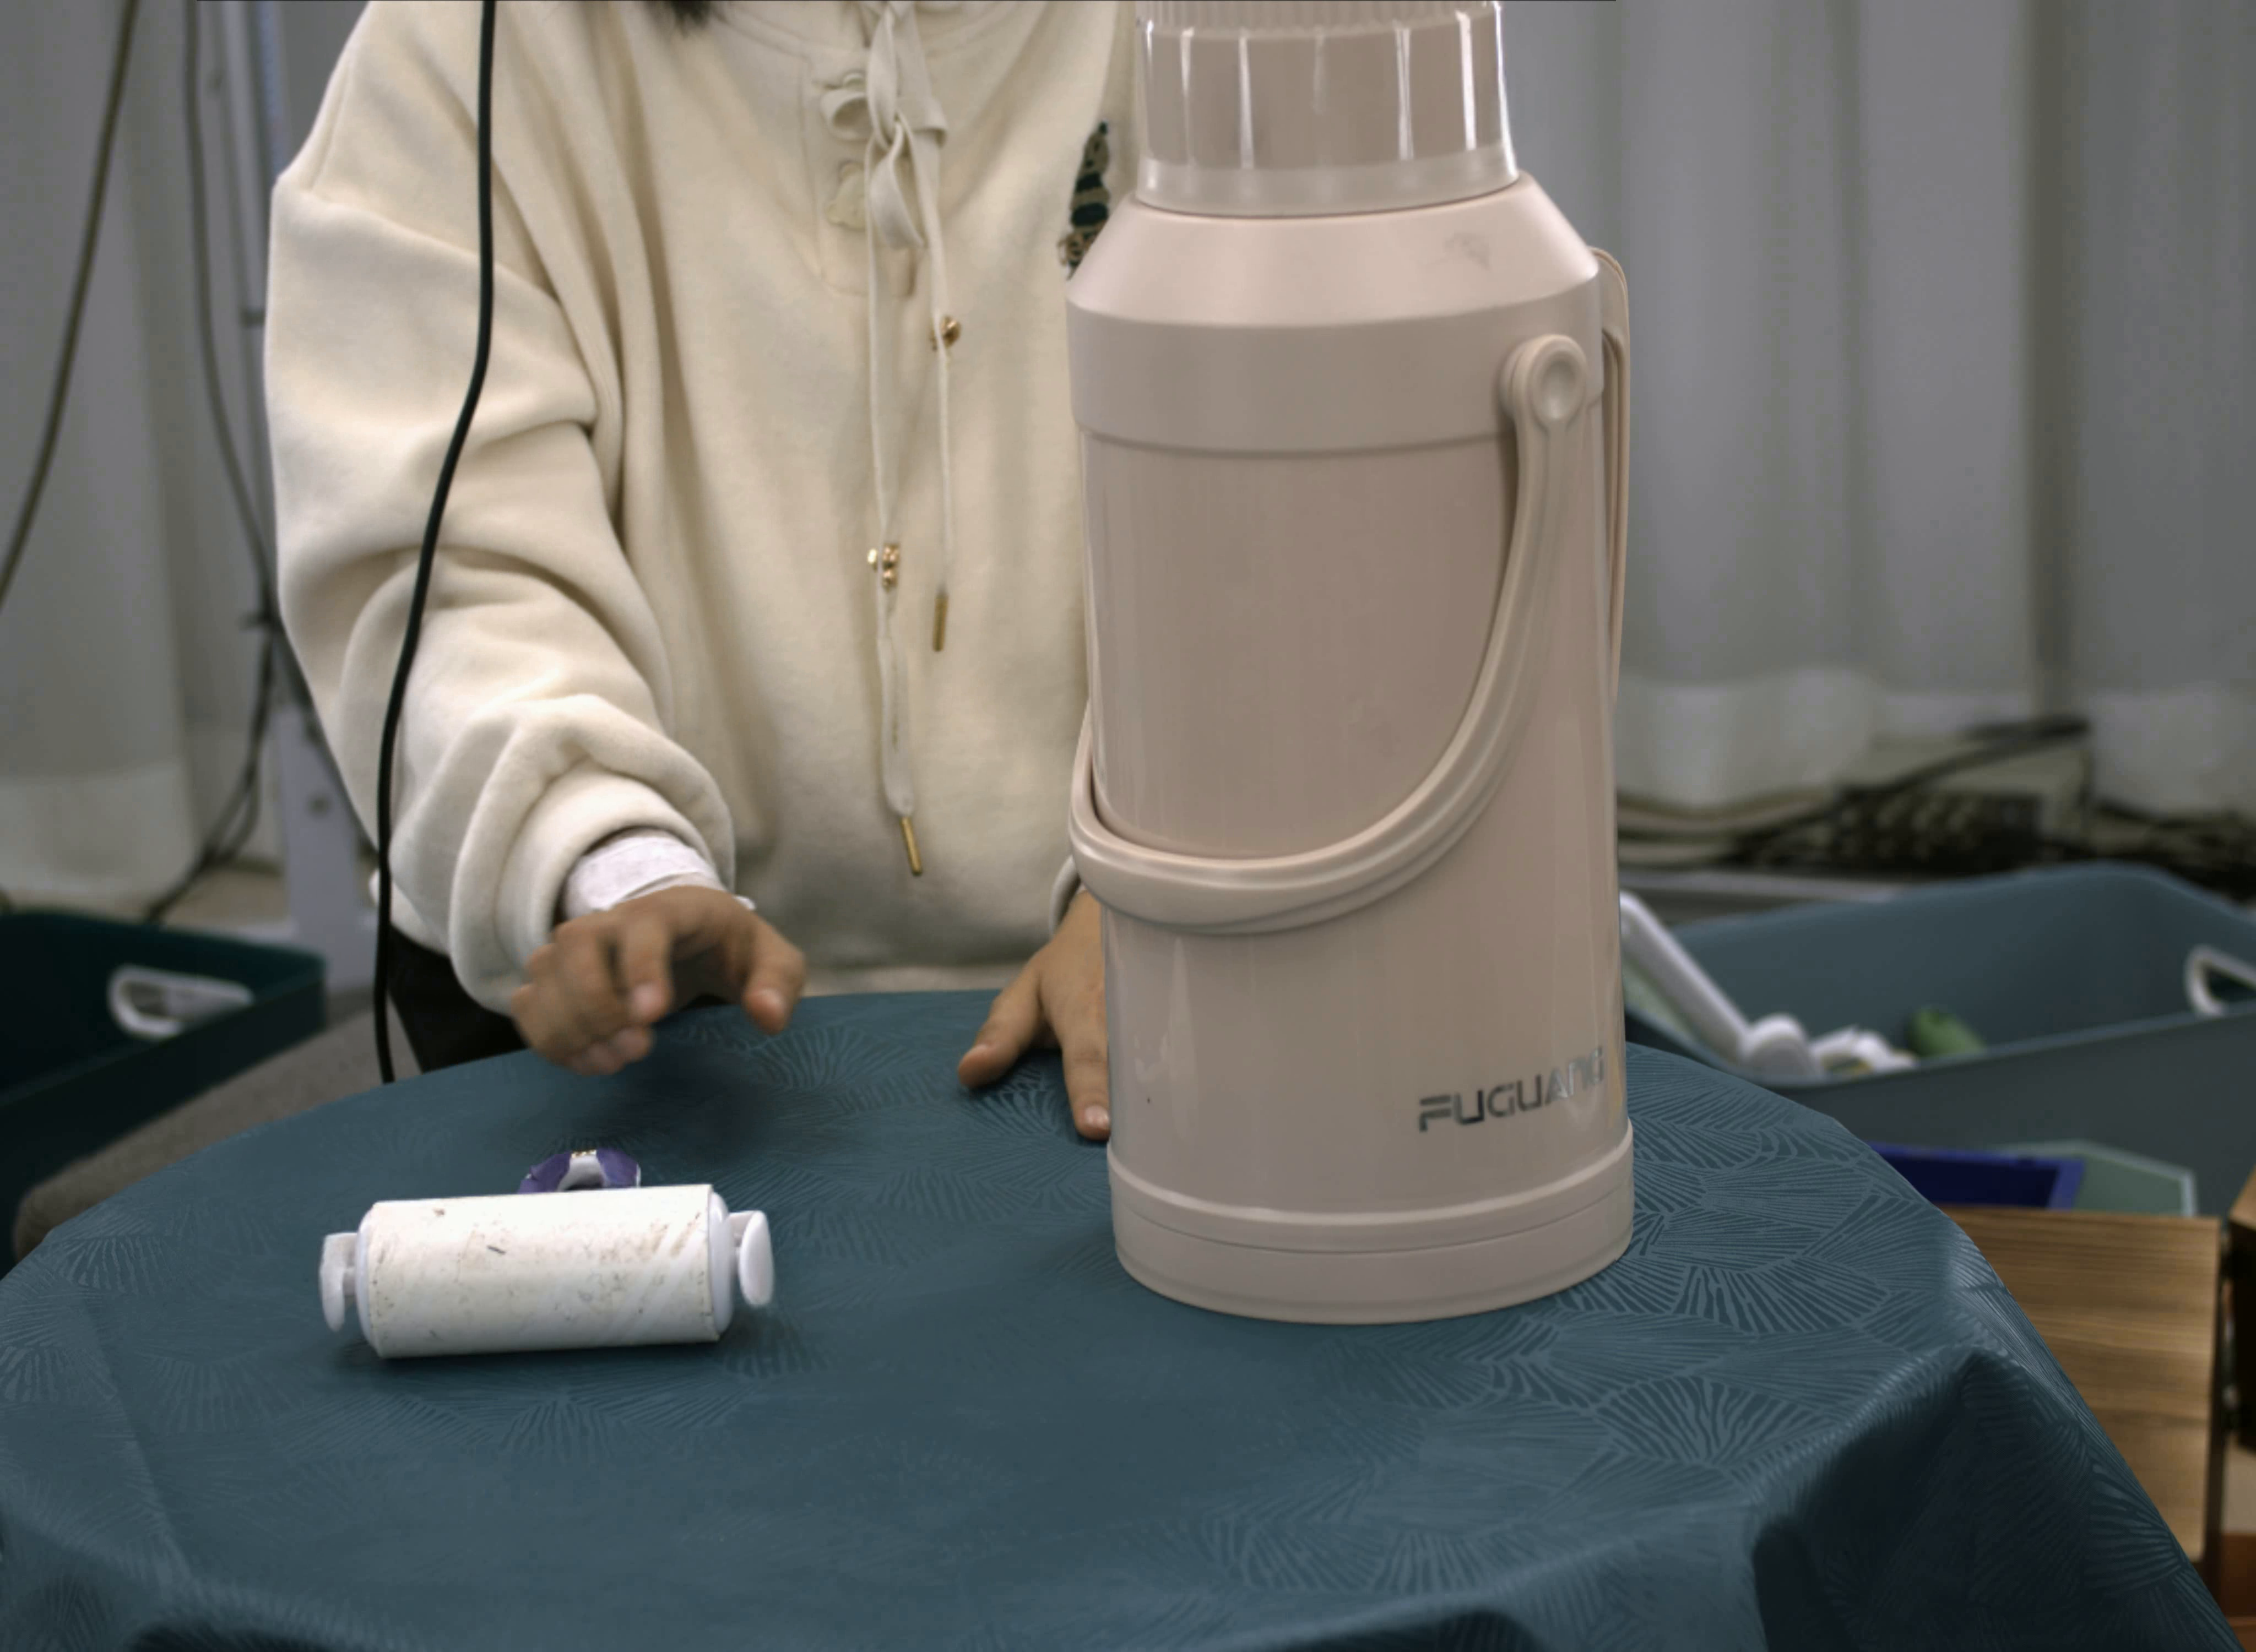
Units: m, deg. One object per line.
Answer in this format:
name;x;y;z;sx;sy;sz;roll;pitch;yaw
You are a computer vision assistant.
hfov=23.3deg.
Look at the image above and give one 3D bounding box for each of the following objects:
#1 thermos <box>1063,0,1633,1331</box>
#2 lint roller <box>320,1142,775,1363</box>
thermos;0.075;-0.068;1.623;0.206;0.405;0.176;-15;18;-42
lint roller;-0.169;0.113;1.661;0.132;0.050;0.182;-3;17;2
